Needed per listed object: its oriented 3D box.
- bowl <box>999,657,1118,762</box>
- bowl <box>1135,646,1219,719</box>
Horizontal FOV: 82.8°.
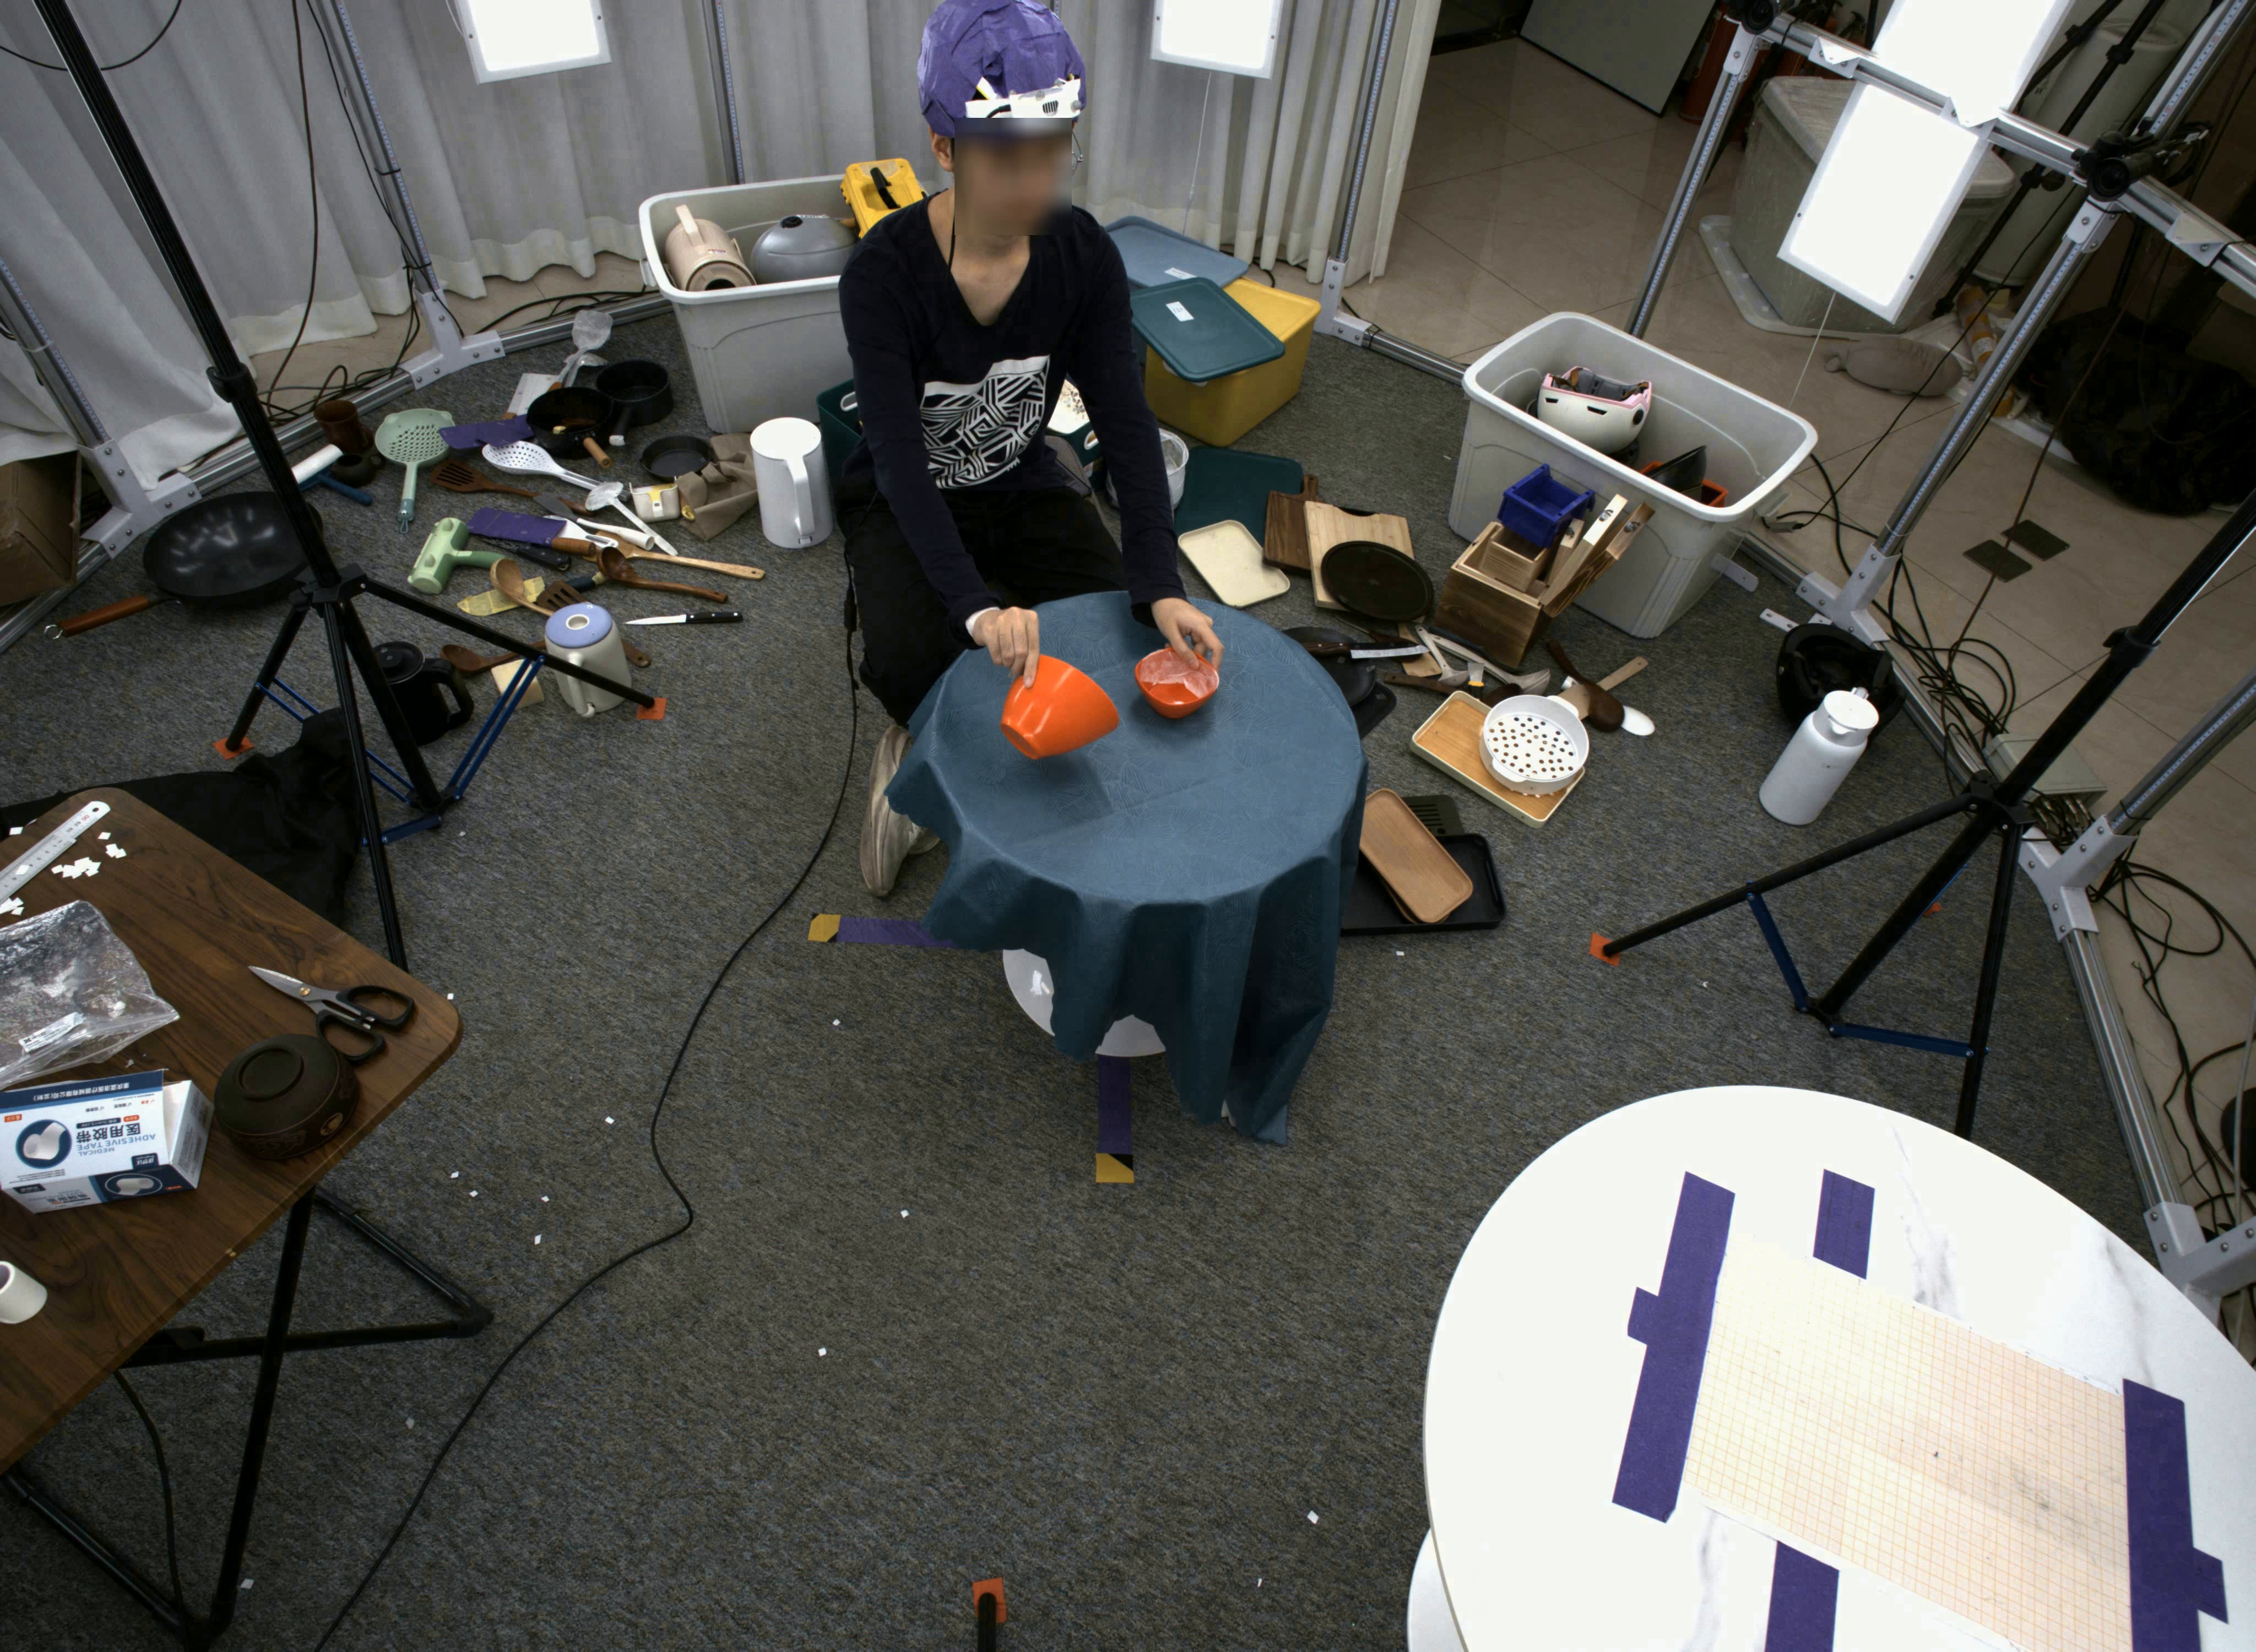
[{"bbox_3d":[-0.102,-0.139,1.653,0.150,0.145,0.105,34,75,23],"label":"bowl"},{"bbox_3d":[0.067,-0.196,1.809,0.119,0.050,0.122,1,51,-2],"label":"bowl"}]
